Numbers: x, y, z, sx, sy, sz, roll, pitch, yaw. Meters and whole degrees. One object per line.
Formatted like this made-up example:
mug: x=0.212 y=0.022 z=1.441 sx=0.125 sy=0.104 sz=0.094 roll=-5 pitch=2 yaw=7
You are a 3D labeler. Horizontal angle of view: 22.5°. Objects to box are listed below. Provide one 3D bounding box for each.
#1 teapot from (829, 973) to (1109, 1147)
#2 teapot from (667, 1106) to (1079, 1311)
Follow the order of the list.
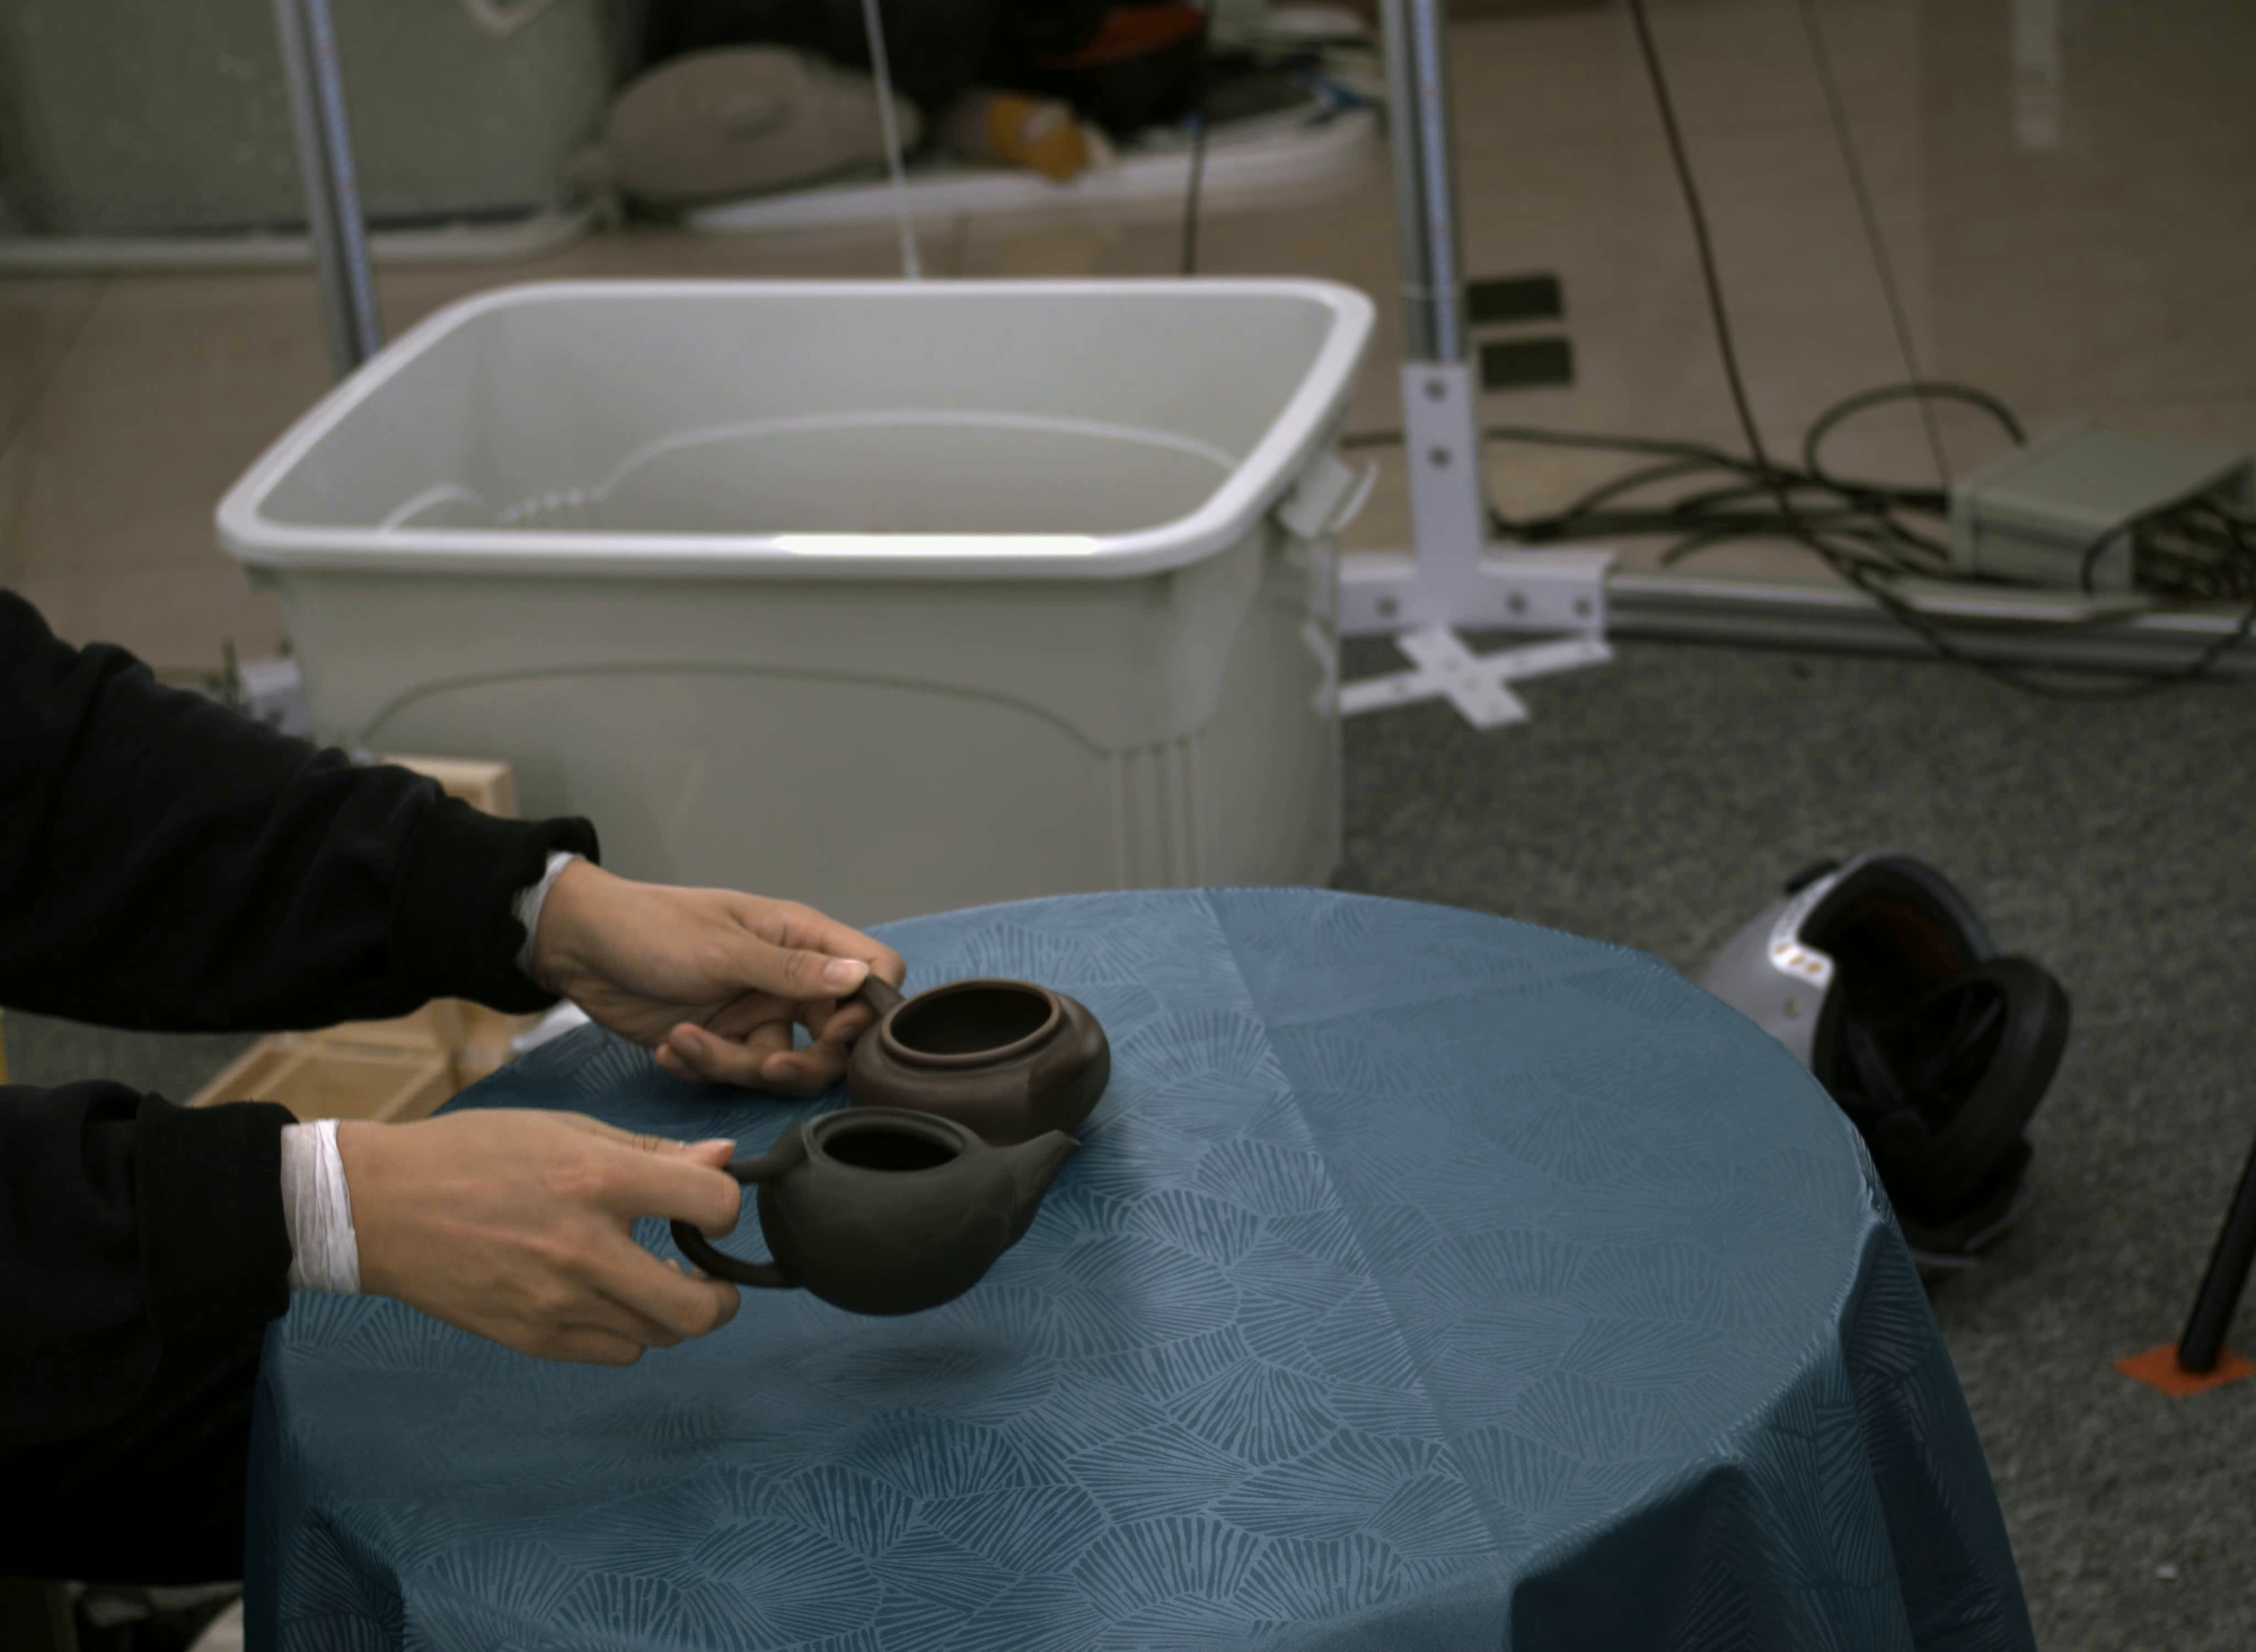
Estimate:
teapot: x=-0.062 y=0.092 z=2.200 sx=0.152 sy=0.054 sz=0.102 roll=16 pitch=31 yaw=40
teapot: x=-0.090 y=0.135 z=2.024 sx=0.154 sy=0.065 sz=0.091 roll=-3 pitch=20 yaw=-21
